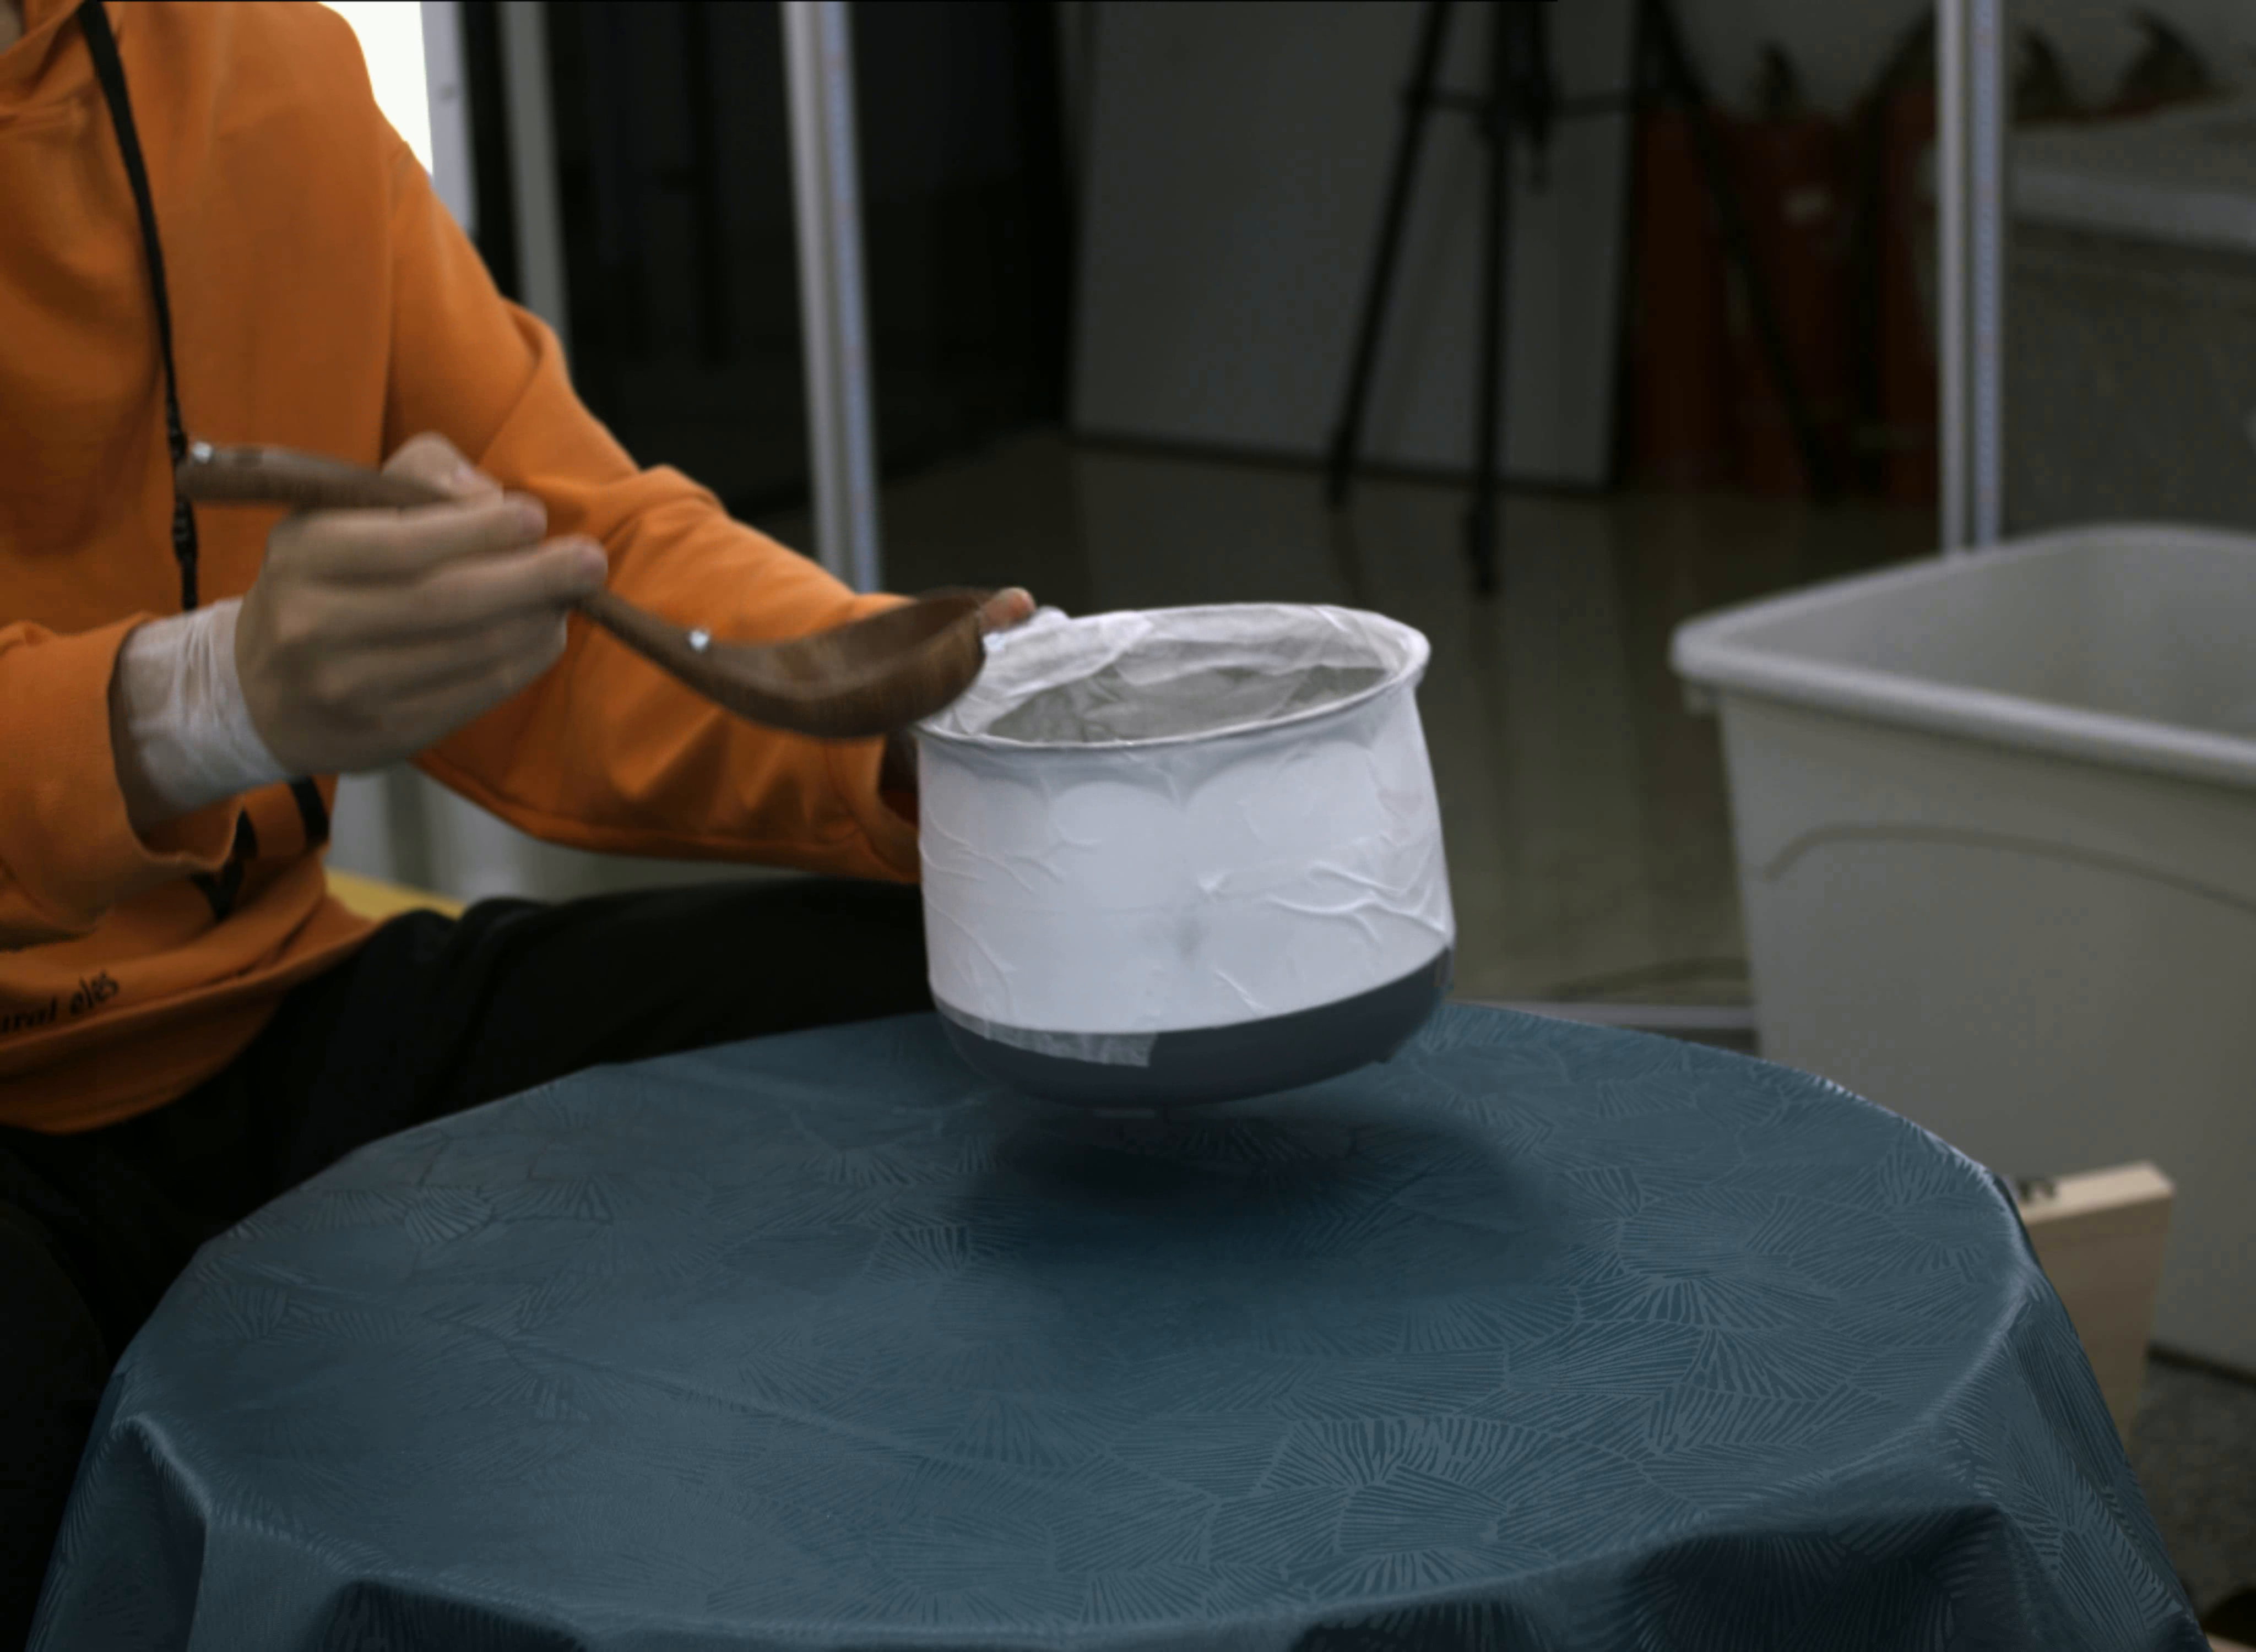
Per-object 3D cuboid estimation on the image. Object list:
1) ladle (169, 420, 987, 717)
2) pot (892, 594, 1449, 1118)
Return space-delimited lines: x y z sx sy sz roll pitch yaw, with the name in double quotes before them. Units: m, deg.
"ladle" -0.169 -0.094 1.678 0.258 0.066 0.076 22 14 2
"pot" 0.004 0.003 1.804 0.175 0.138 0.236 -12 16 -22
